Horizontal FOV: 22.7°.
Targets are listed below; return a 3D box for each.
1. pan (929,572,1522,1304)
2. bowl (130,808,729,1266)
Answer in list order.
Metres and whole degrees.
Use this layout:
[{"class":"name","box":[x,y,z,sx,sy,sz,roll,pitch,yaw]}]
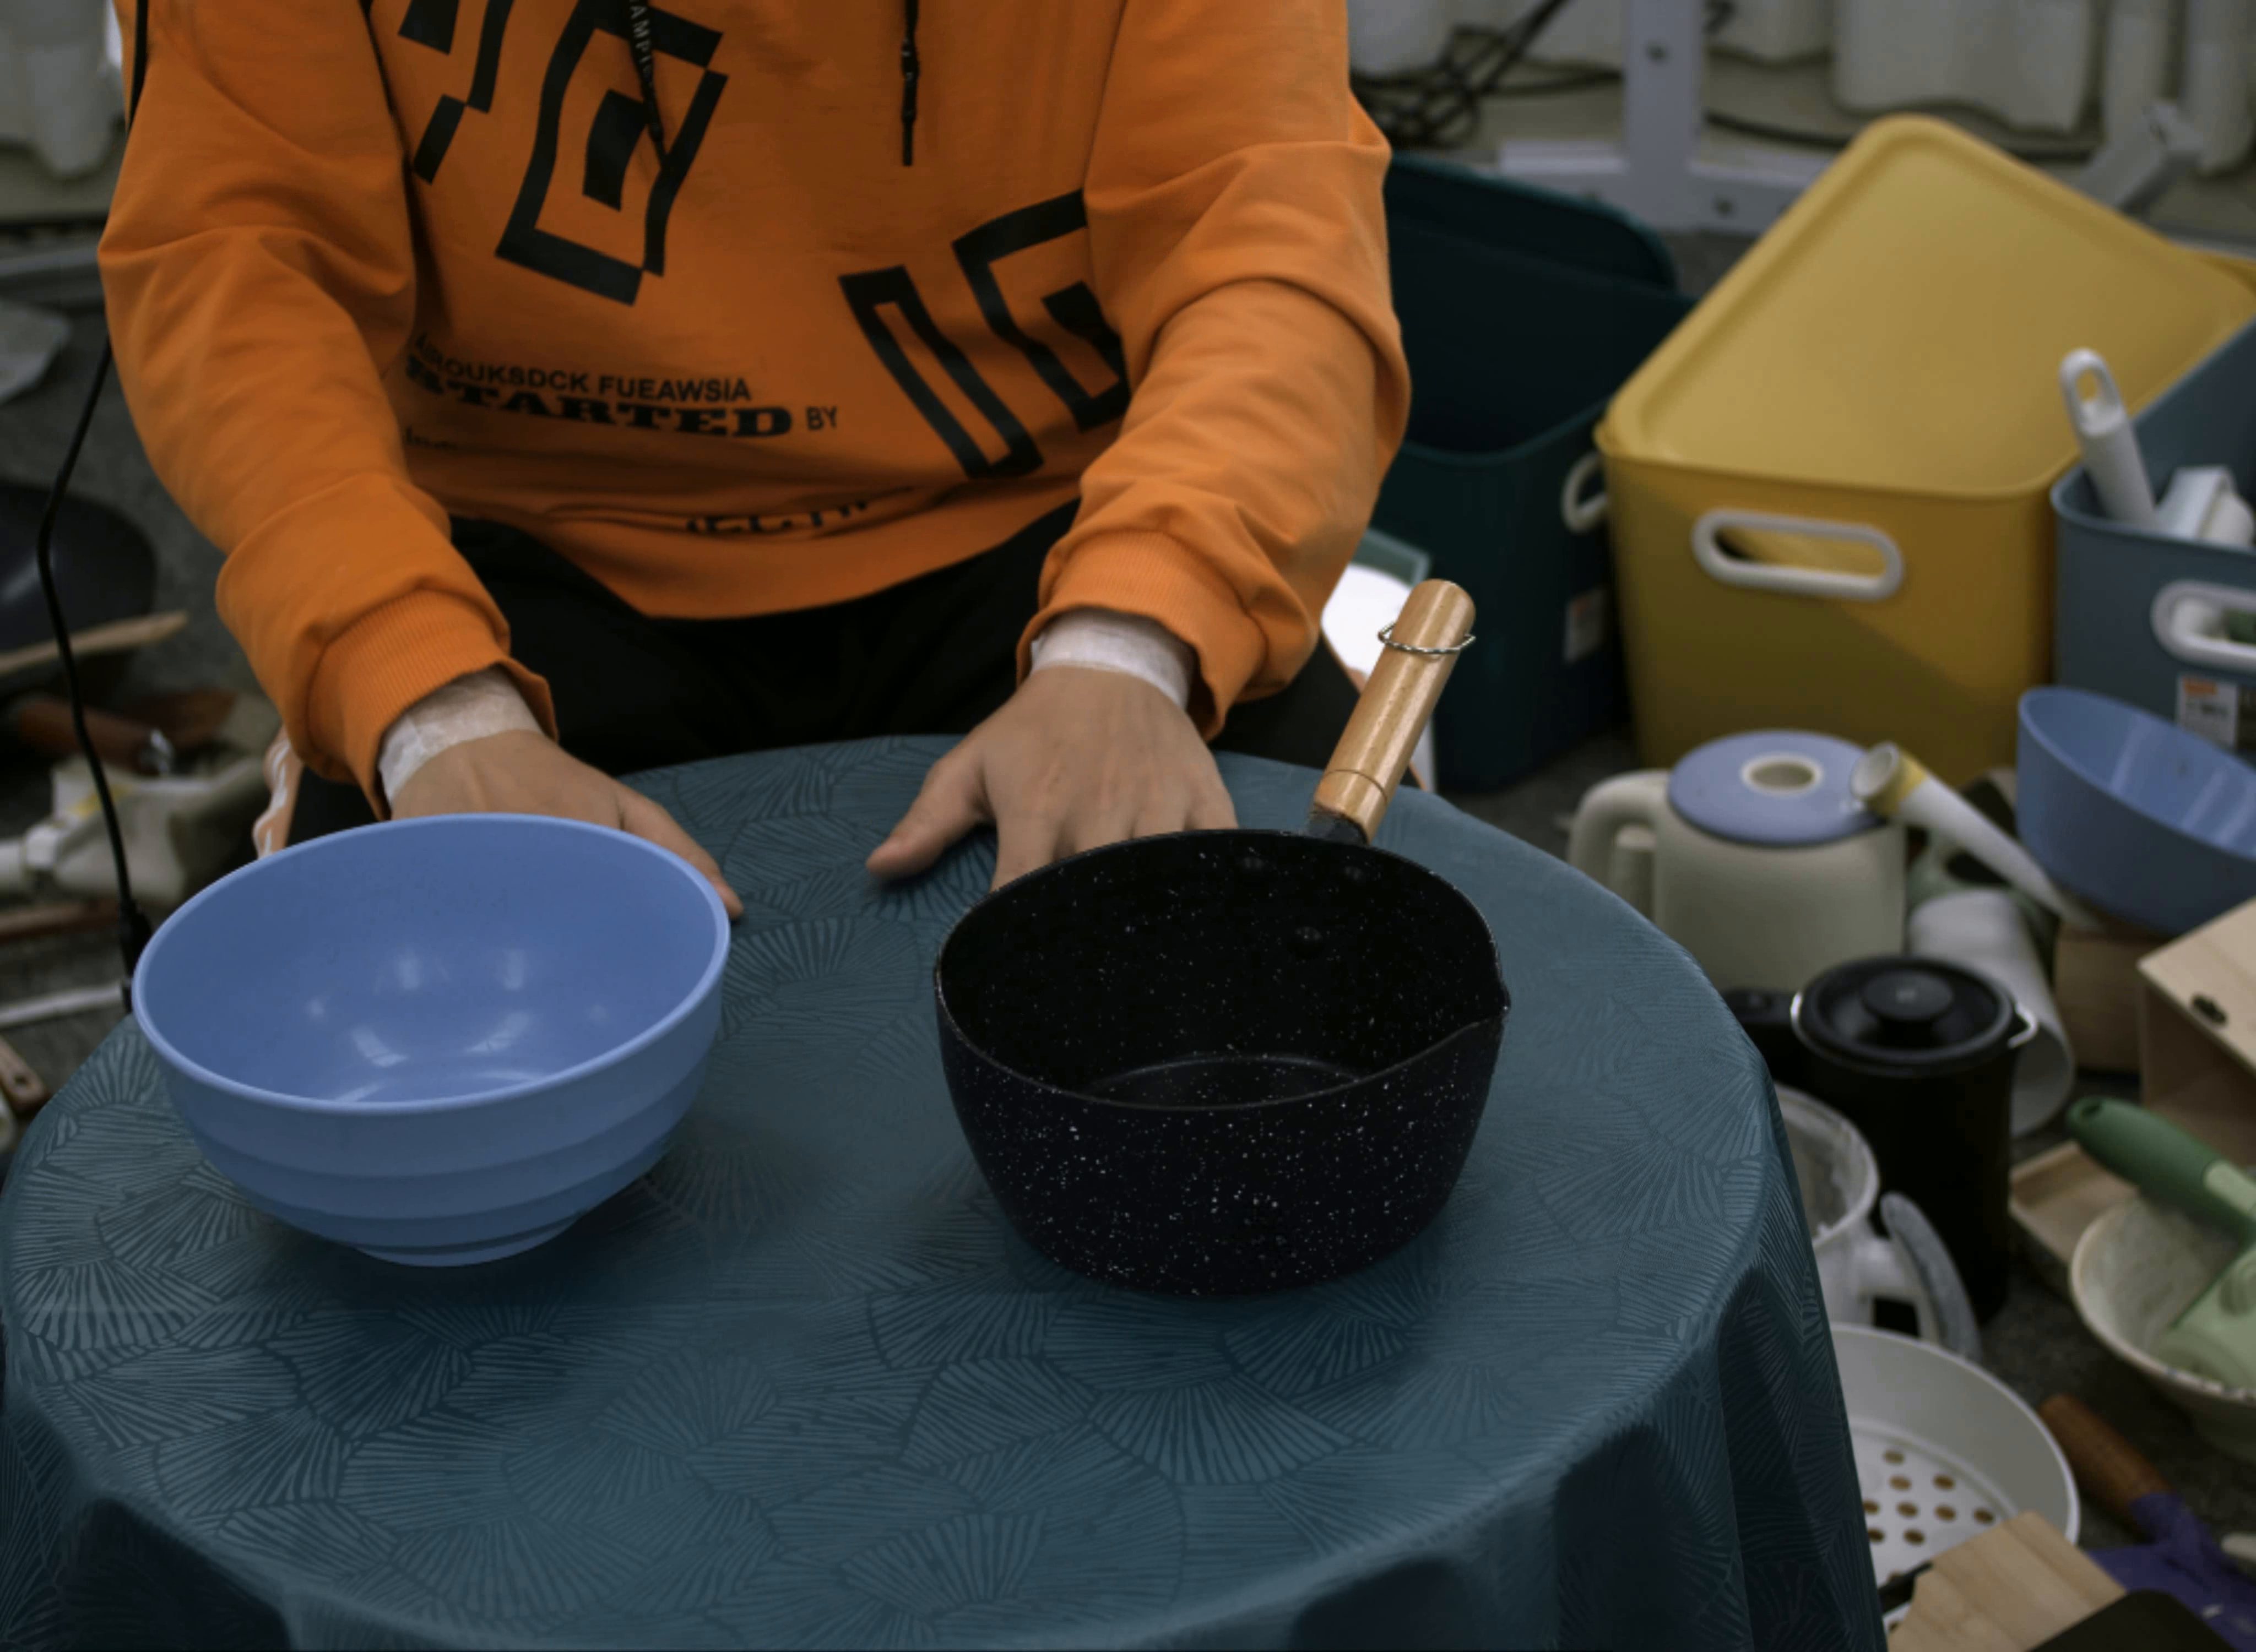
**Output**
[{"class":"pan","box":[0.057,0.034,1.909,0.206,0.107,0.349,6,30,19]},{"class":"bowl","box":[-0.225,0.082,1.858,0.195,0.094,0.199,-3,29,2]}]
